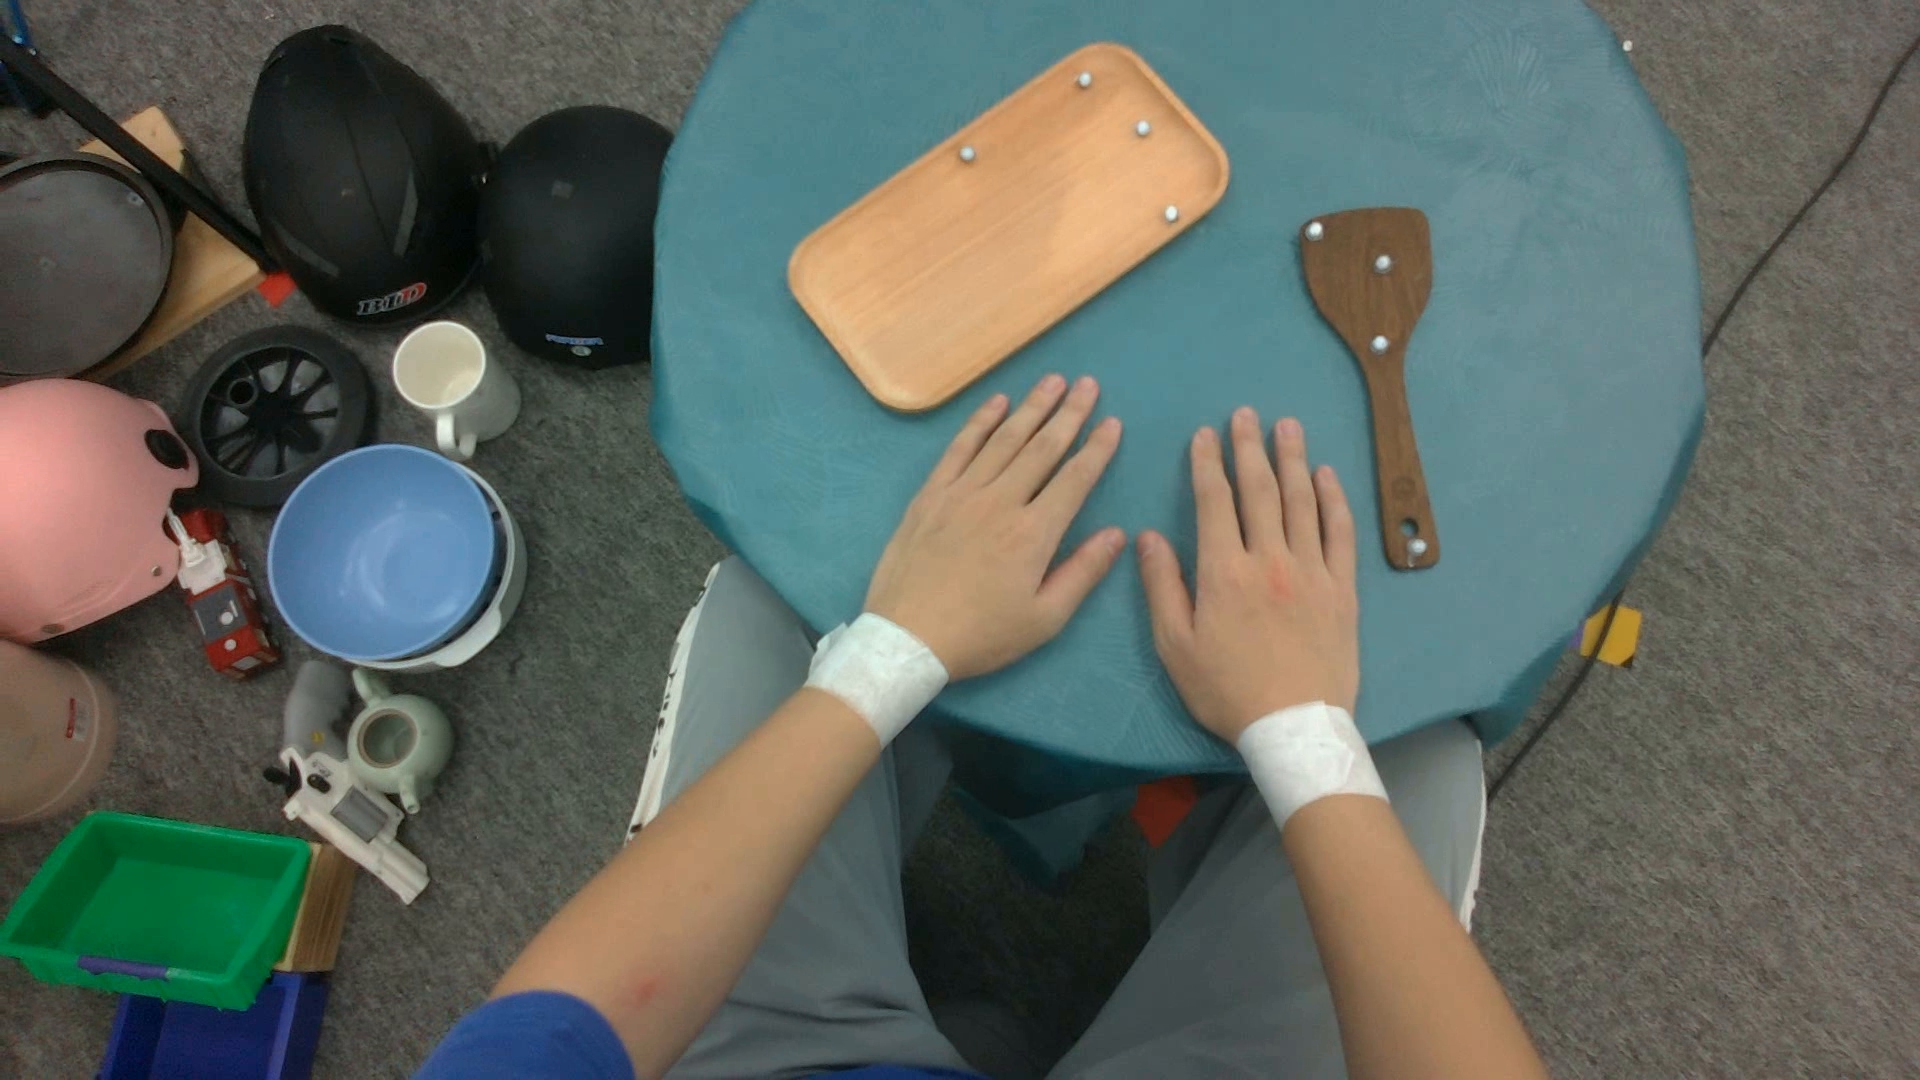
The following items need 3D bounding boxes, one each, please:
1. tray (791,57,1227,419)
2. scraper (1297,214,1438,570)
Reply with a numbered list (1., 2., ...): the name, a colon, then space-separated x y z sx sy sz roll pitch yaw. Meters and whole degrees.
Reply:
1. tray: 0.030 -0.178 0.802 0.251 0.023 0.130 -36 74 -8
2. scraper: 0.239 -0.086 0.774 0.076 0.011 0.212 -4 75 1
